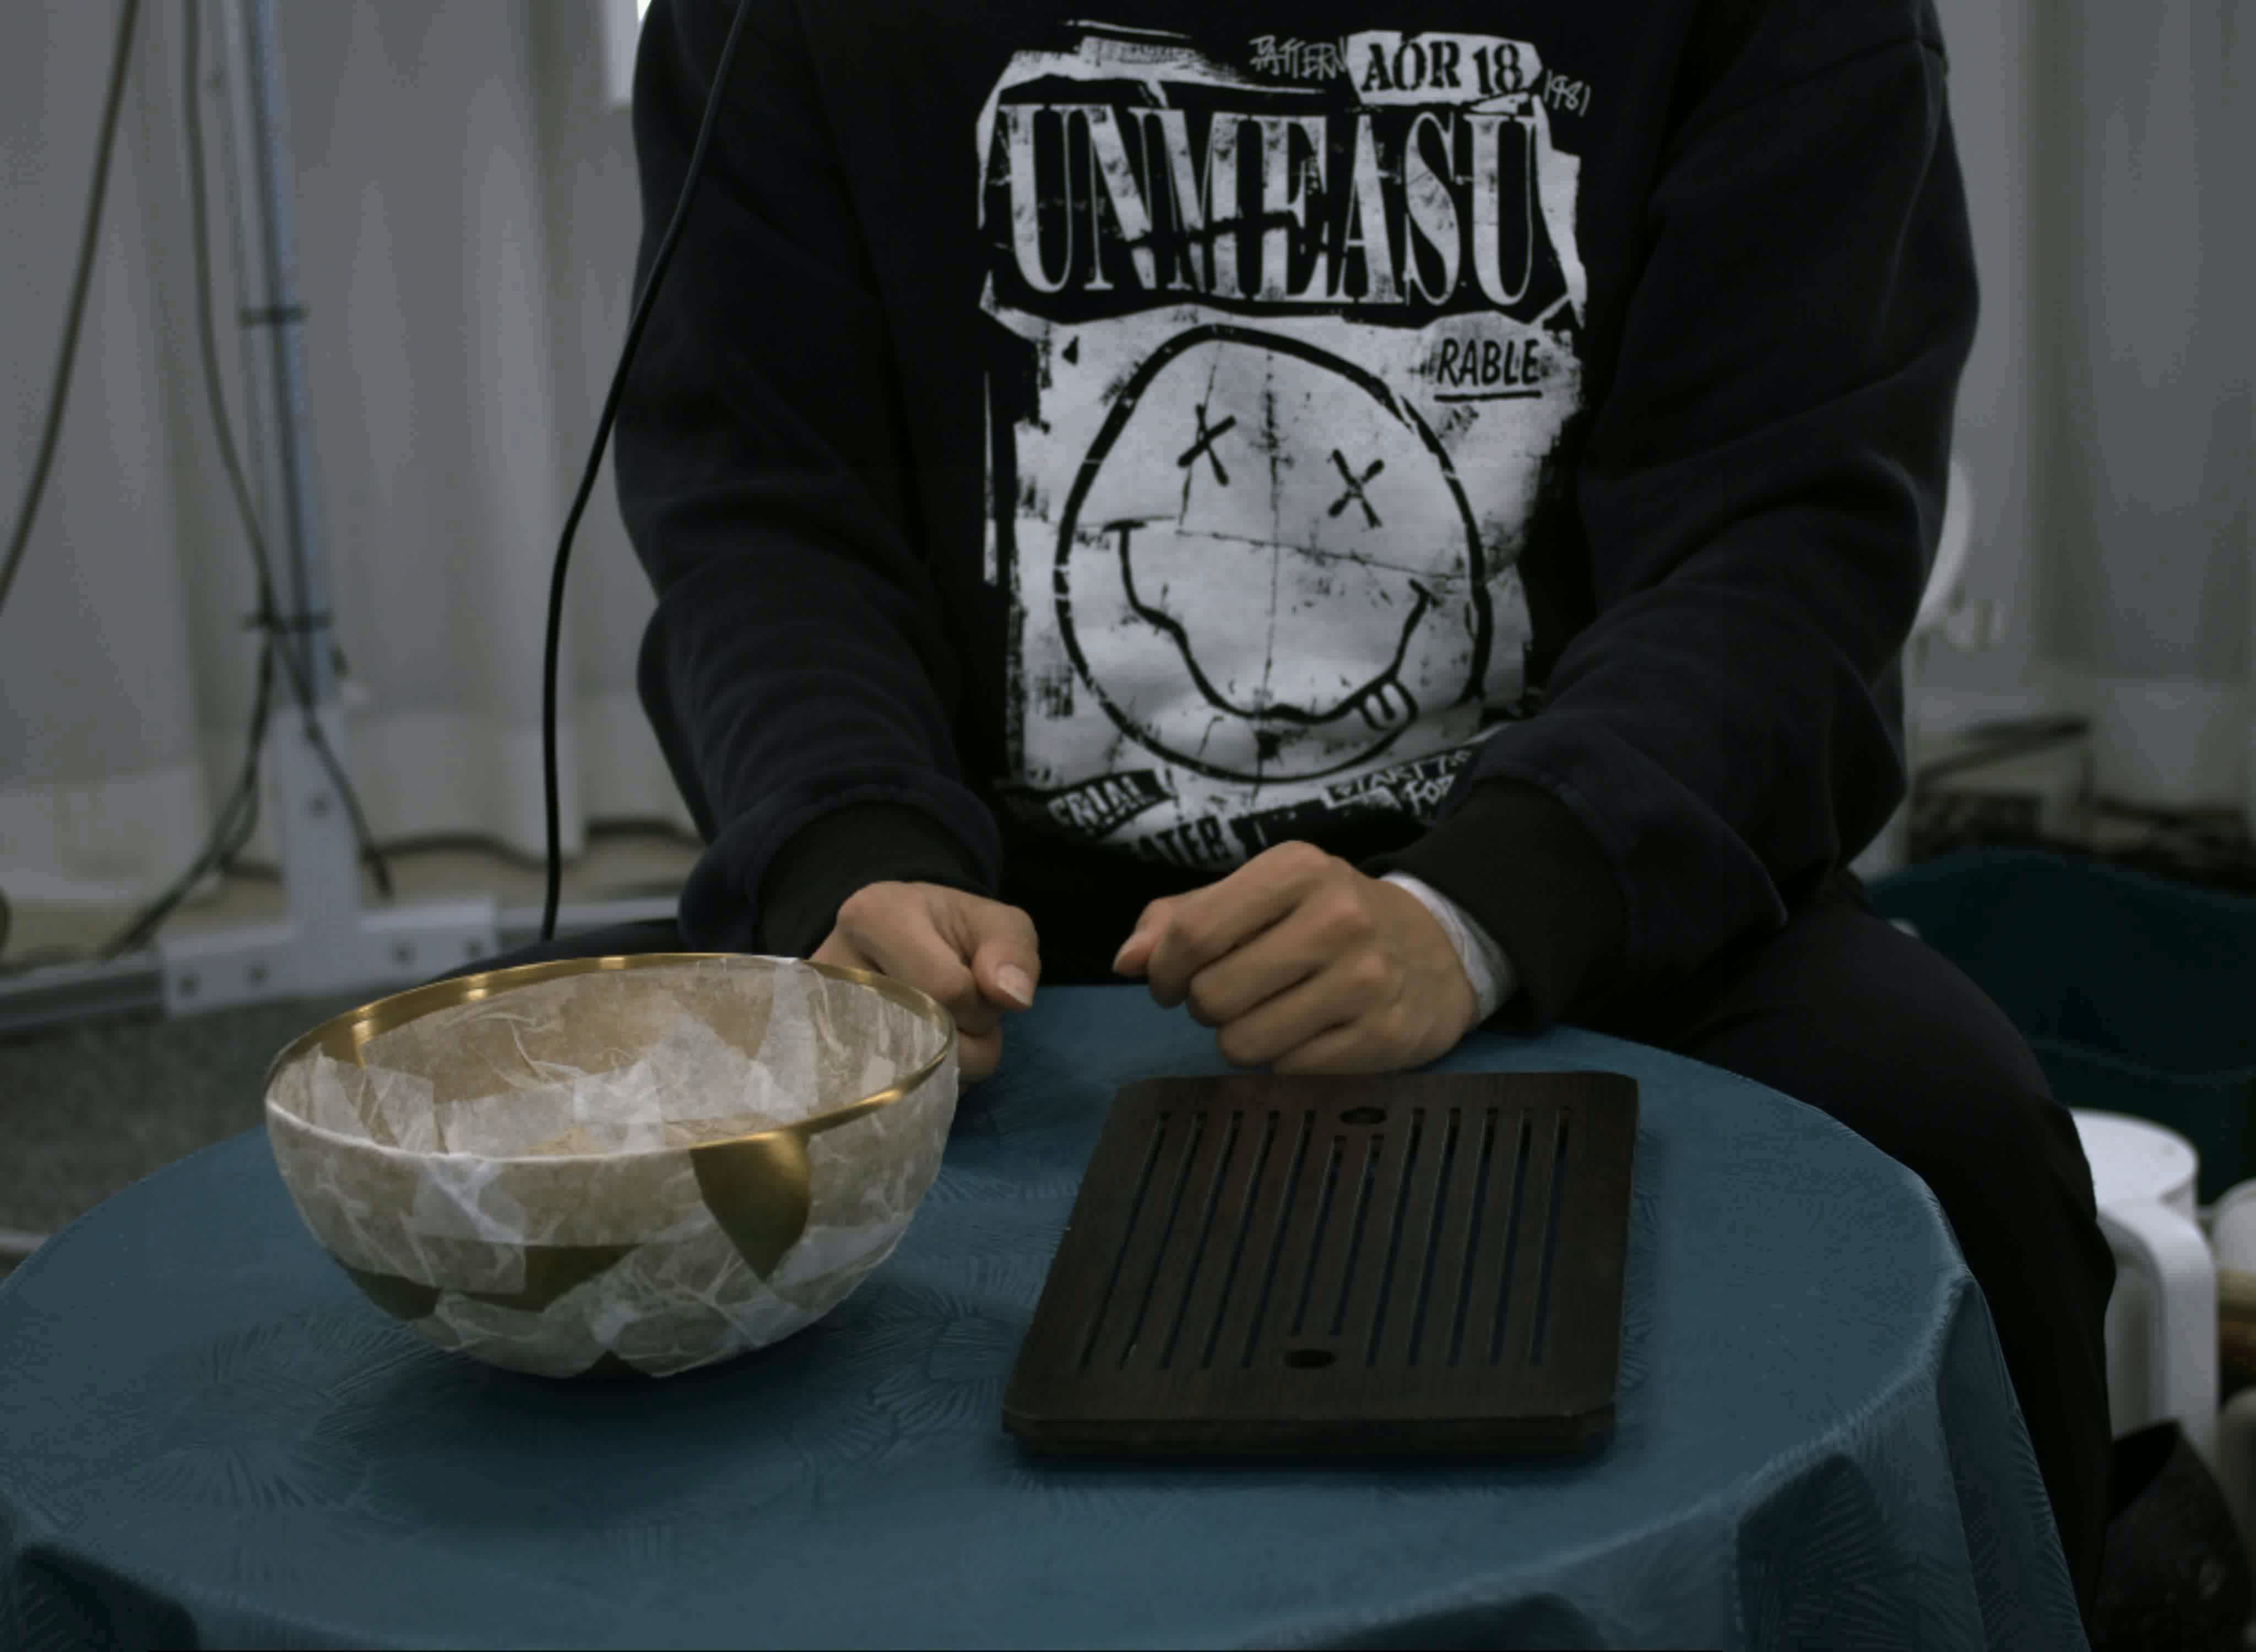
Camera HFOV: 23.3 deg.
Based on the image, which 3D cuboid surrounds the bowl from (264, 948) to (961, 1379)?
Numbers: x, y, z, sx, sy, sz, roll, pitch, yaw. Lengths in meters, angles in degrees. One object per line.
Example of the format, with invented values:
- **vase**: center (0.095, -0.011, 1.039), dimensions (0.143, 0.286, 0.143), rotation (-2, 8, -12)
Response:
- **bowl**: center (-0.143, 0.106, 1.596), dimensions (0.214, 0.094, 0.216), rotation (-4, 14, 1)

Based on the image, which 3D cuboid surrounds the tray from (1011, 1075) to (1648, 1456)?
- **tray**: center (0.067, 0.128, 1.619), dimensions (0.170, 0.018, 0.307), rotation (-1, 15, 7)
